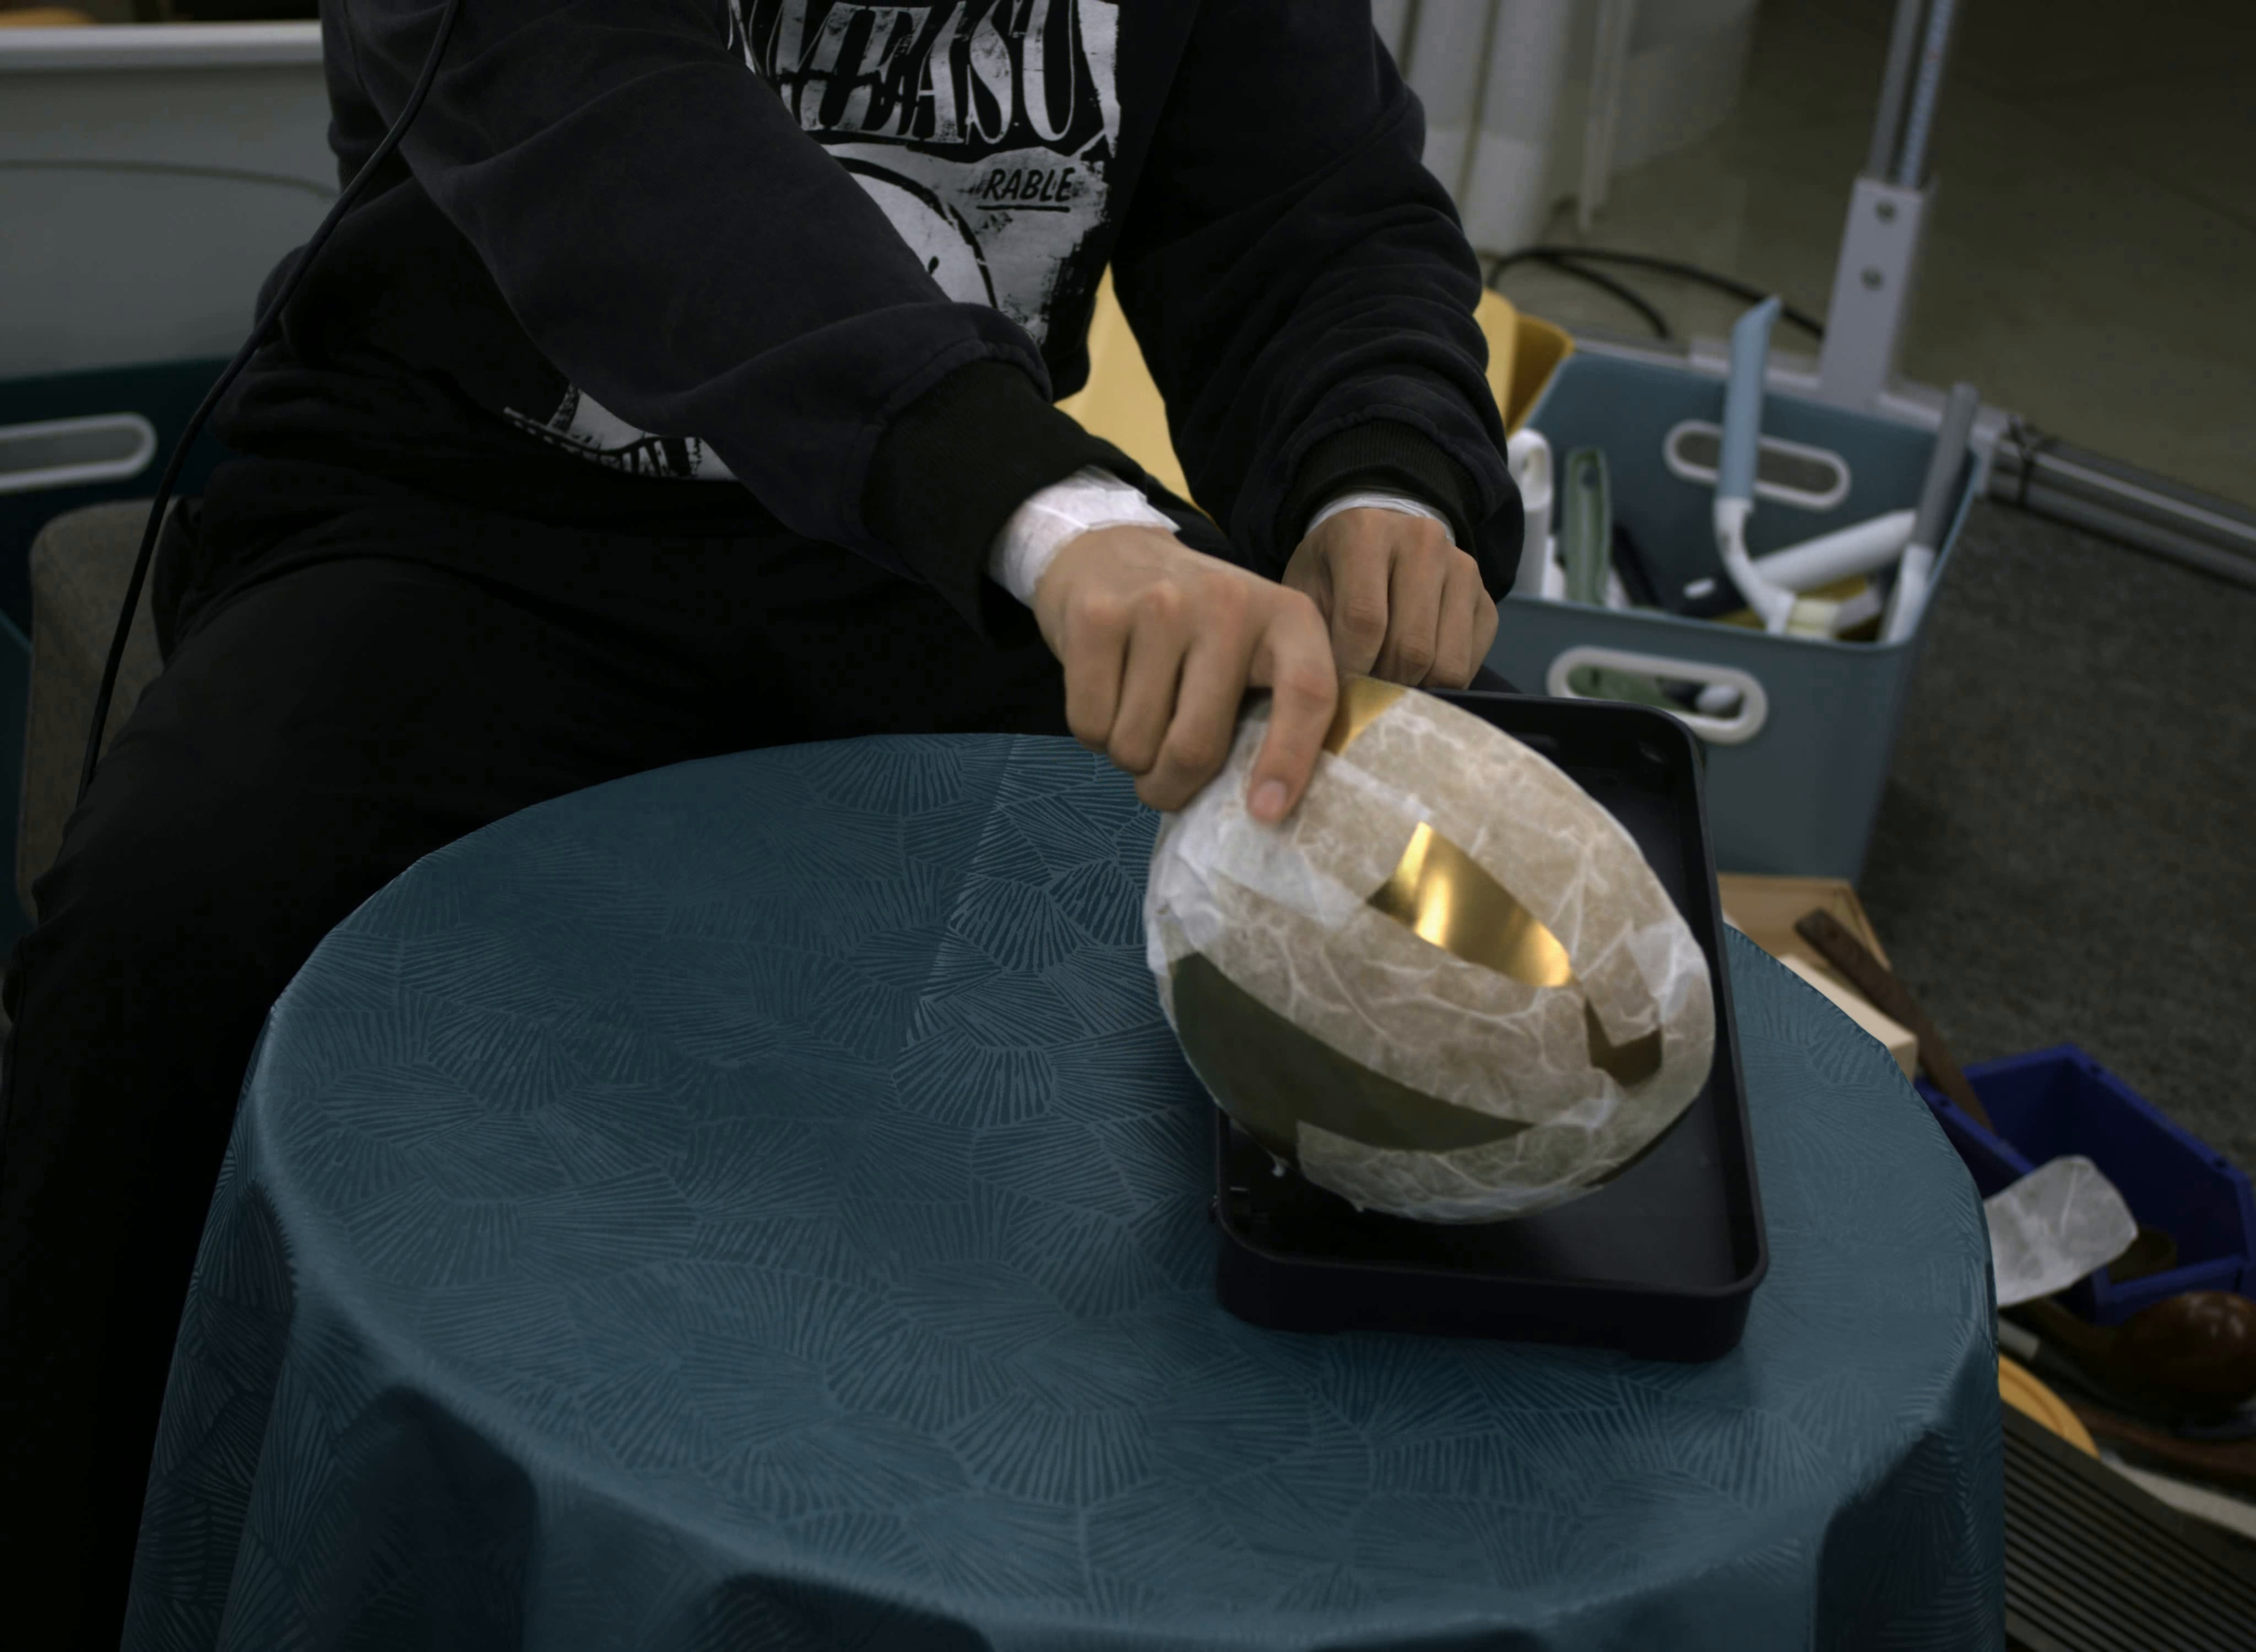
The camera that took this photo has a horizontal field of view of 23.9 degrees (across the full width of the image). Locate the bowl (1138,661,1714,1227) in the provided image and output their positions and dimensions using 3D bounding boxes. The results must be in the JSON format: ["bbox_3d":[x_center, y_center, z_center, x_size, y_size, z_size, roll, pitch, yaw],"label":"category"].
[{"bbox_3d":[0.078,0.058,1.710,0.216,0.213,0.094,23,51,28],"label":"bowl"}]

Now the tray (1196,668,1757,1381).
[{"bbox_3d":[0.117,0.063,1.849,0.183,0.037,0.320,6,39,-3],"label":"tray"}]
